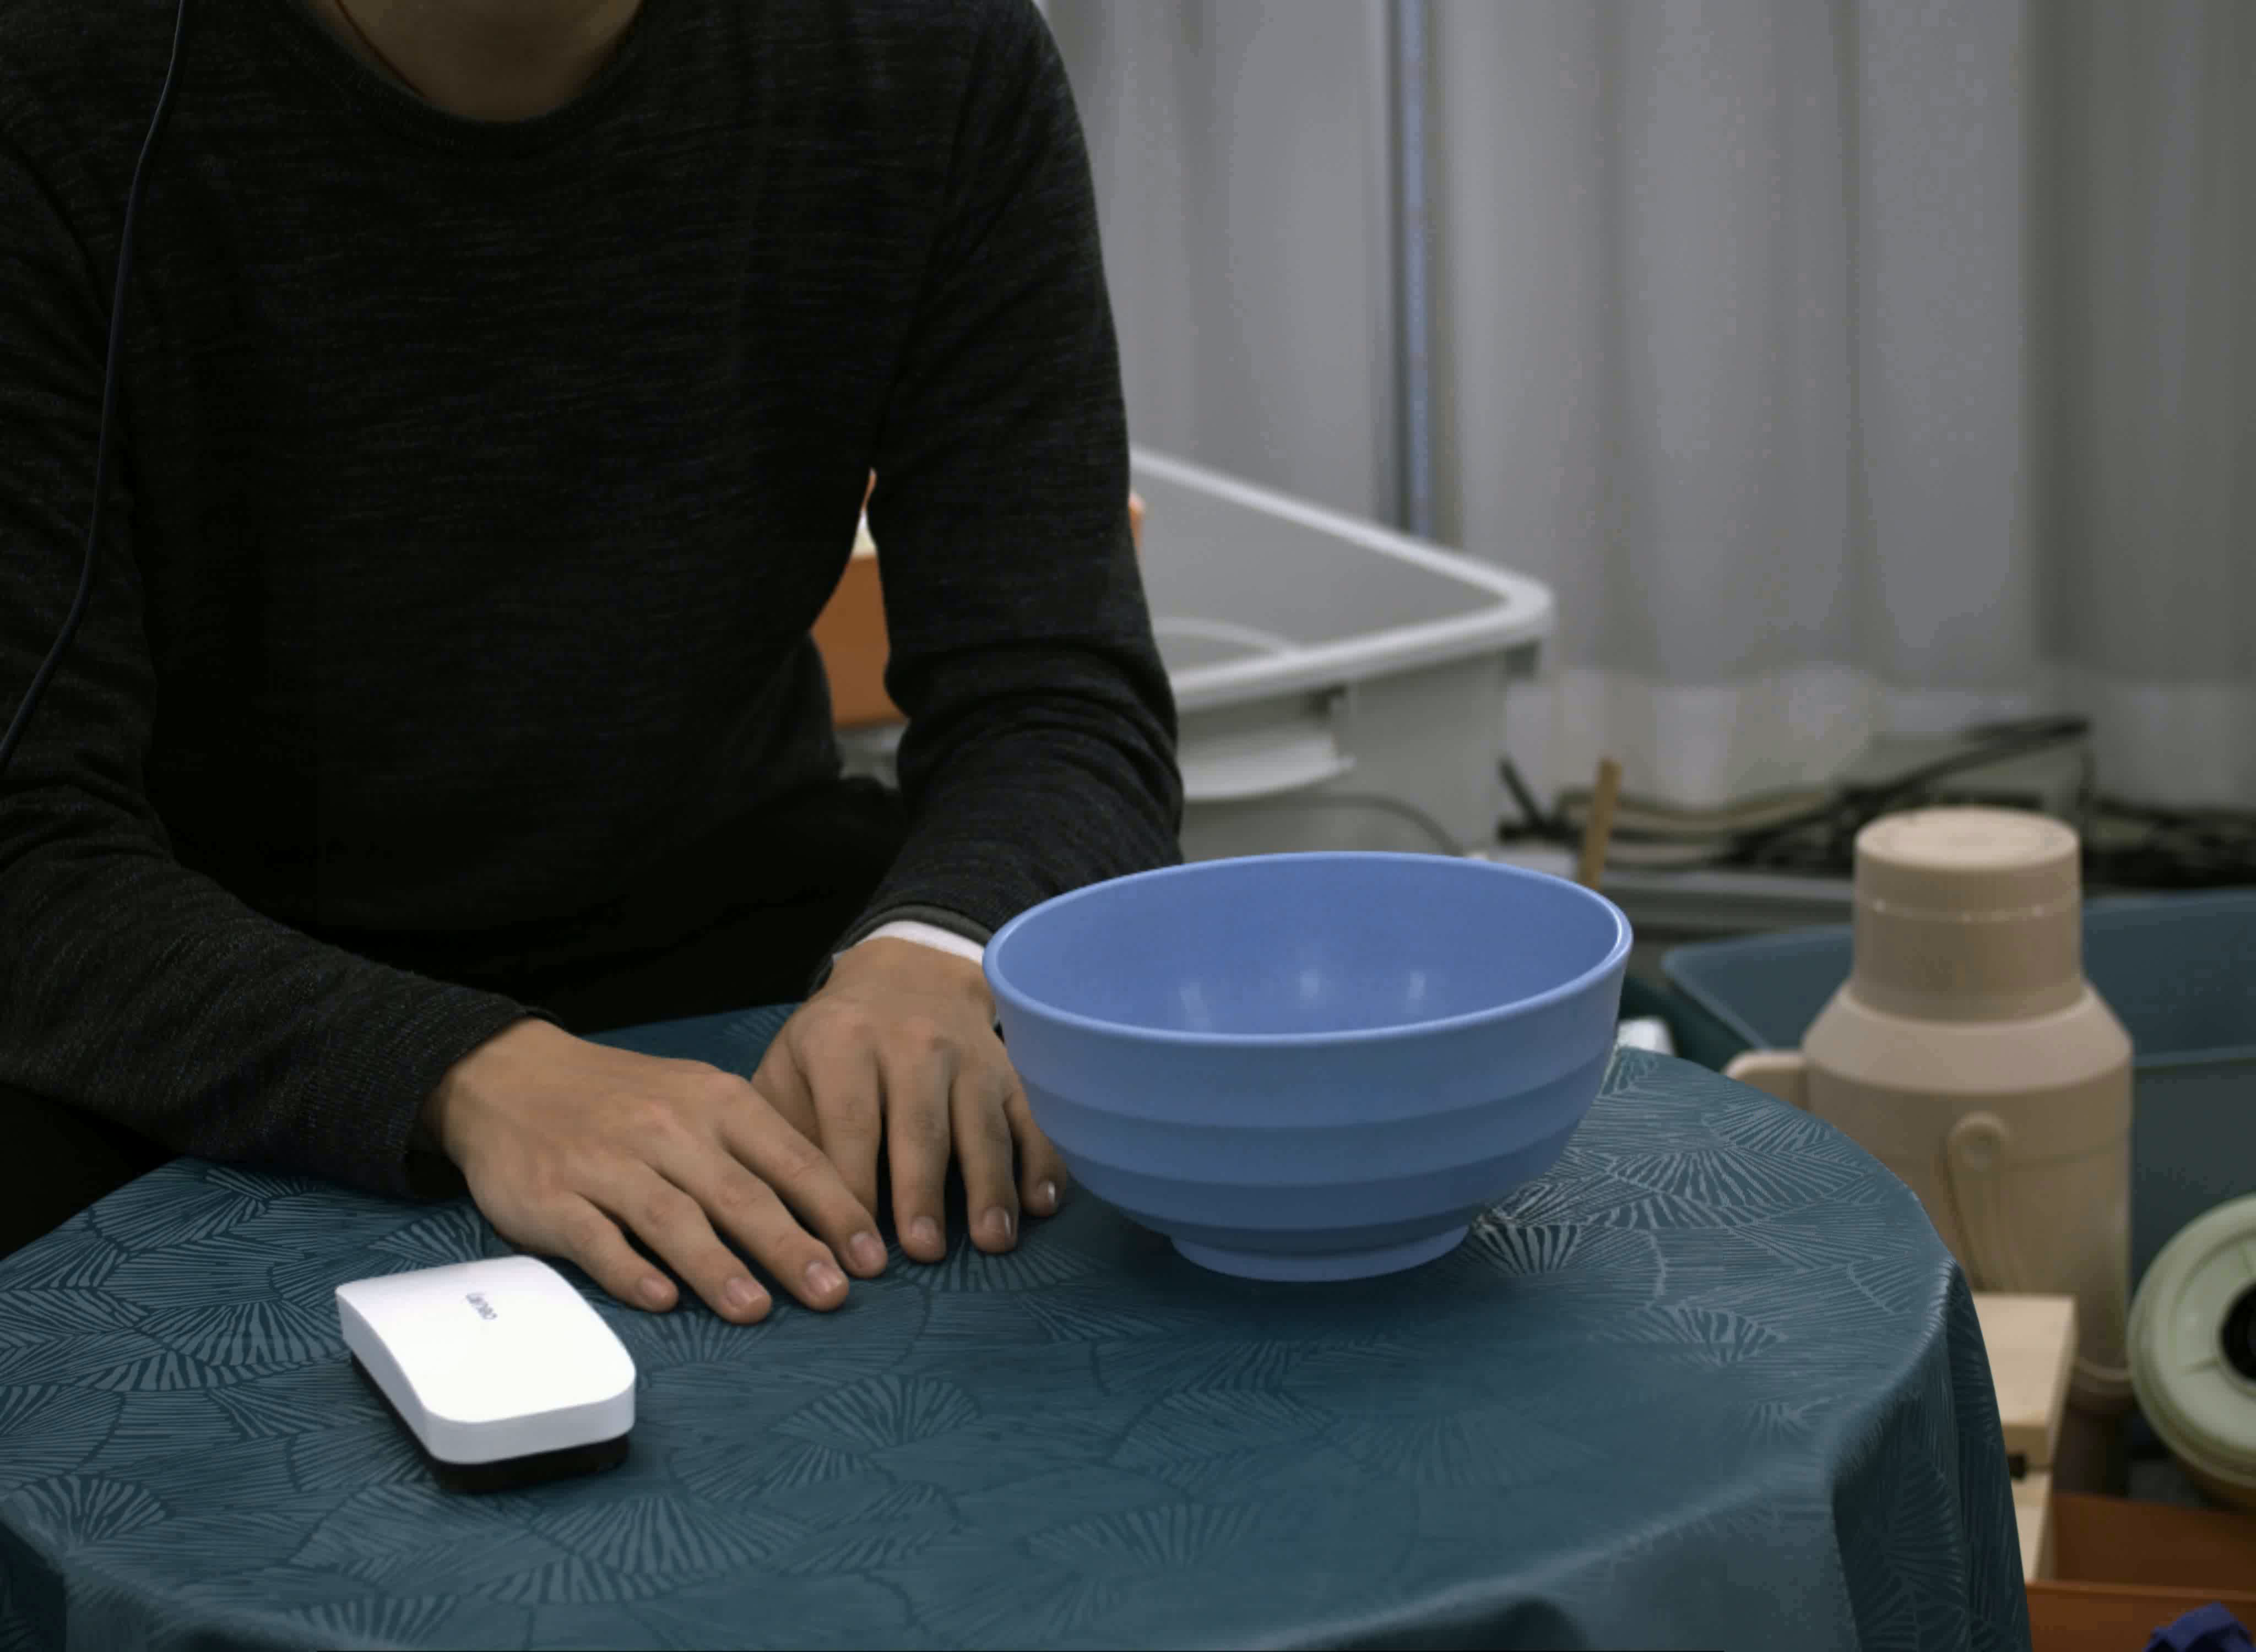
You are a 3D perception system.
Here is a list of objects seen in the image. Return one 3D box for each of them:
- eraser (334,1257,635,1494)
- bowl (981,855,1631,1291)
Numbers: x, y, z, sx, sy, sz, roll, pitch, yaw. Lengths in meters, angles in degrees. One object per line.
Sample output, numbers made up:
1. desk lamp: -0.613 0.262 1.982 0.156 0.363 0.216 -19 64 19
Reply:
1. eraser: -0.182 0.151 1.551 0.063 0.034 0.132 -7 16 -20
2. bowl: 0.056 0.081 1.655 0.196 0.095 0.198 -4 15 1
